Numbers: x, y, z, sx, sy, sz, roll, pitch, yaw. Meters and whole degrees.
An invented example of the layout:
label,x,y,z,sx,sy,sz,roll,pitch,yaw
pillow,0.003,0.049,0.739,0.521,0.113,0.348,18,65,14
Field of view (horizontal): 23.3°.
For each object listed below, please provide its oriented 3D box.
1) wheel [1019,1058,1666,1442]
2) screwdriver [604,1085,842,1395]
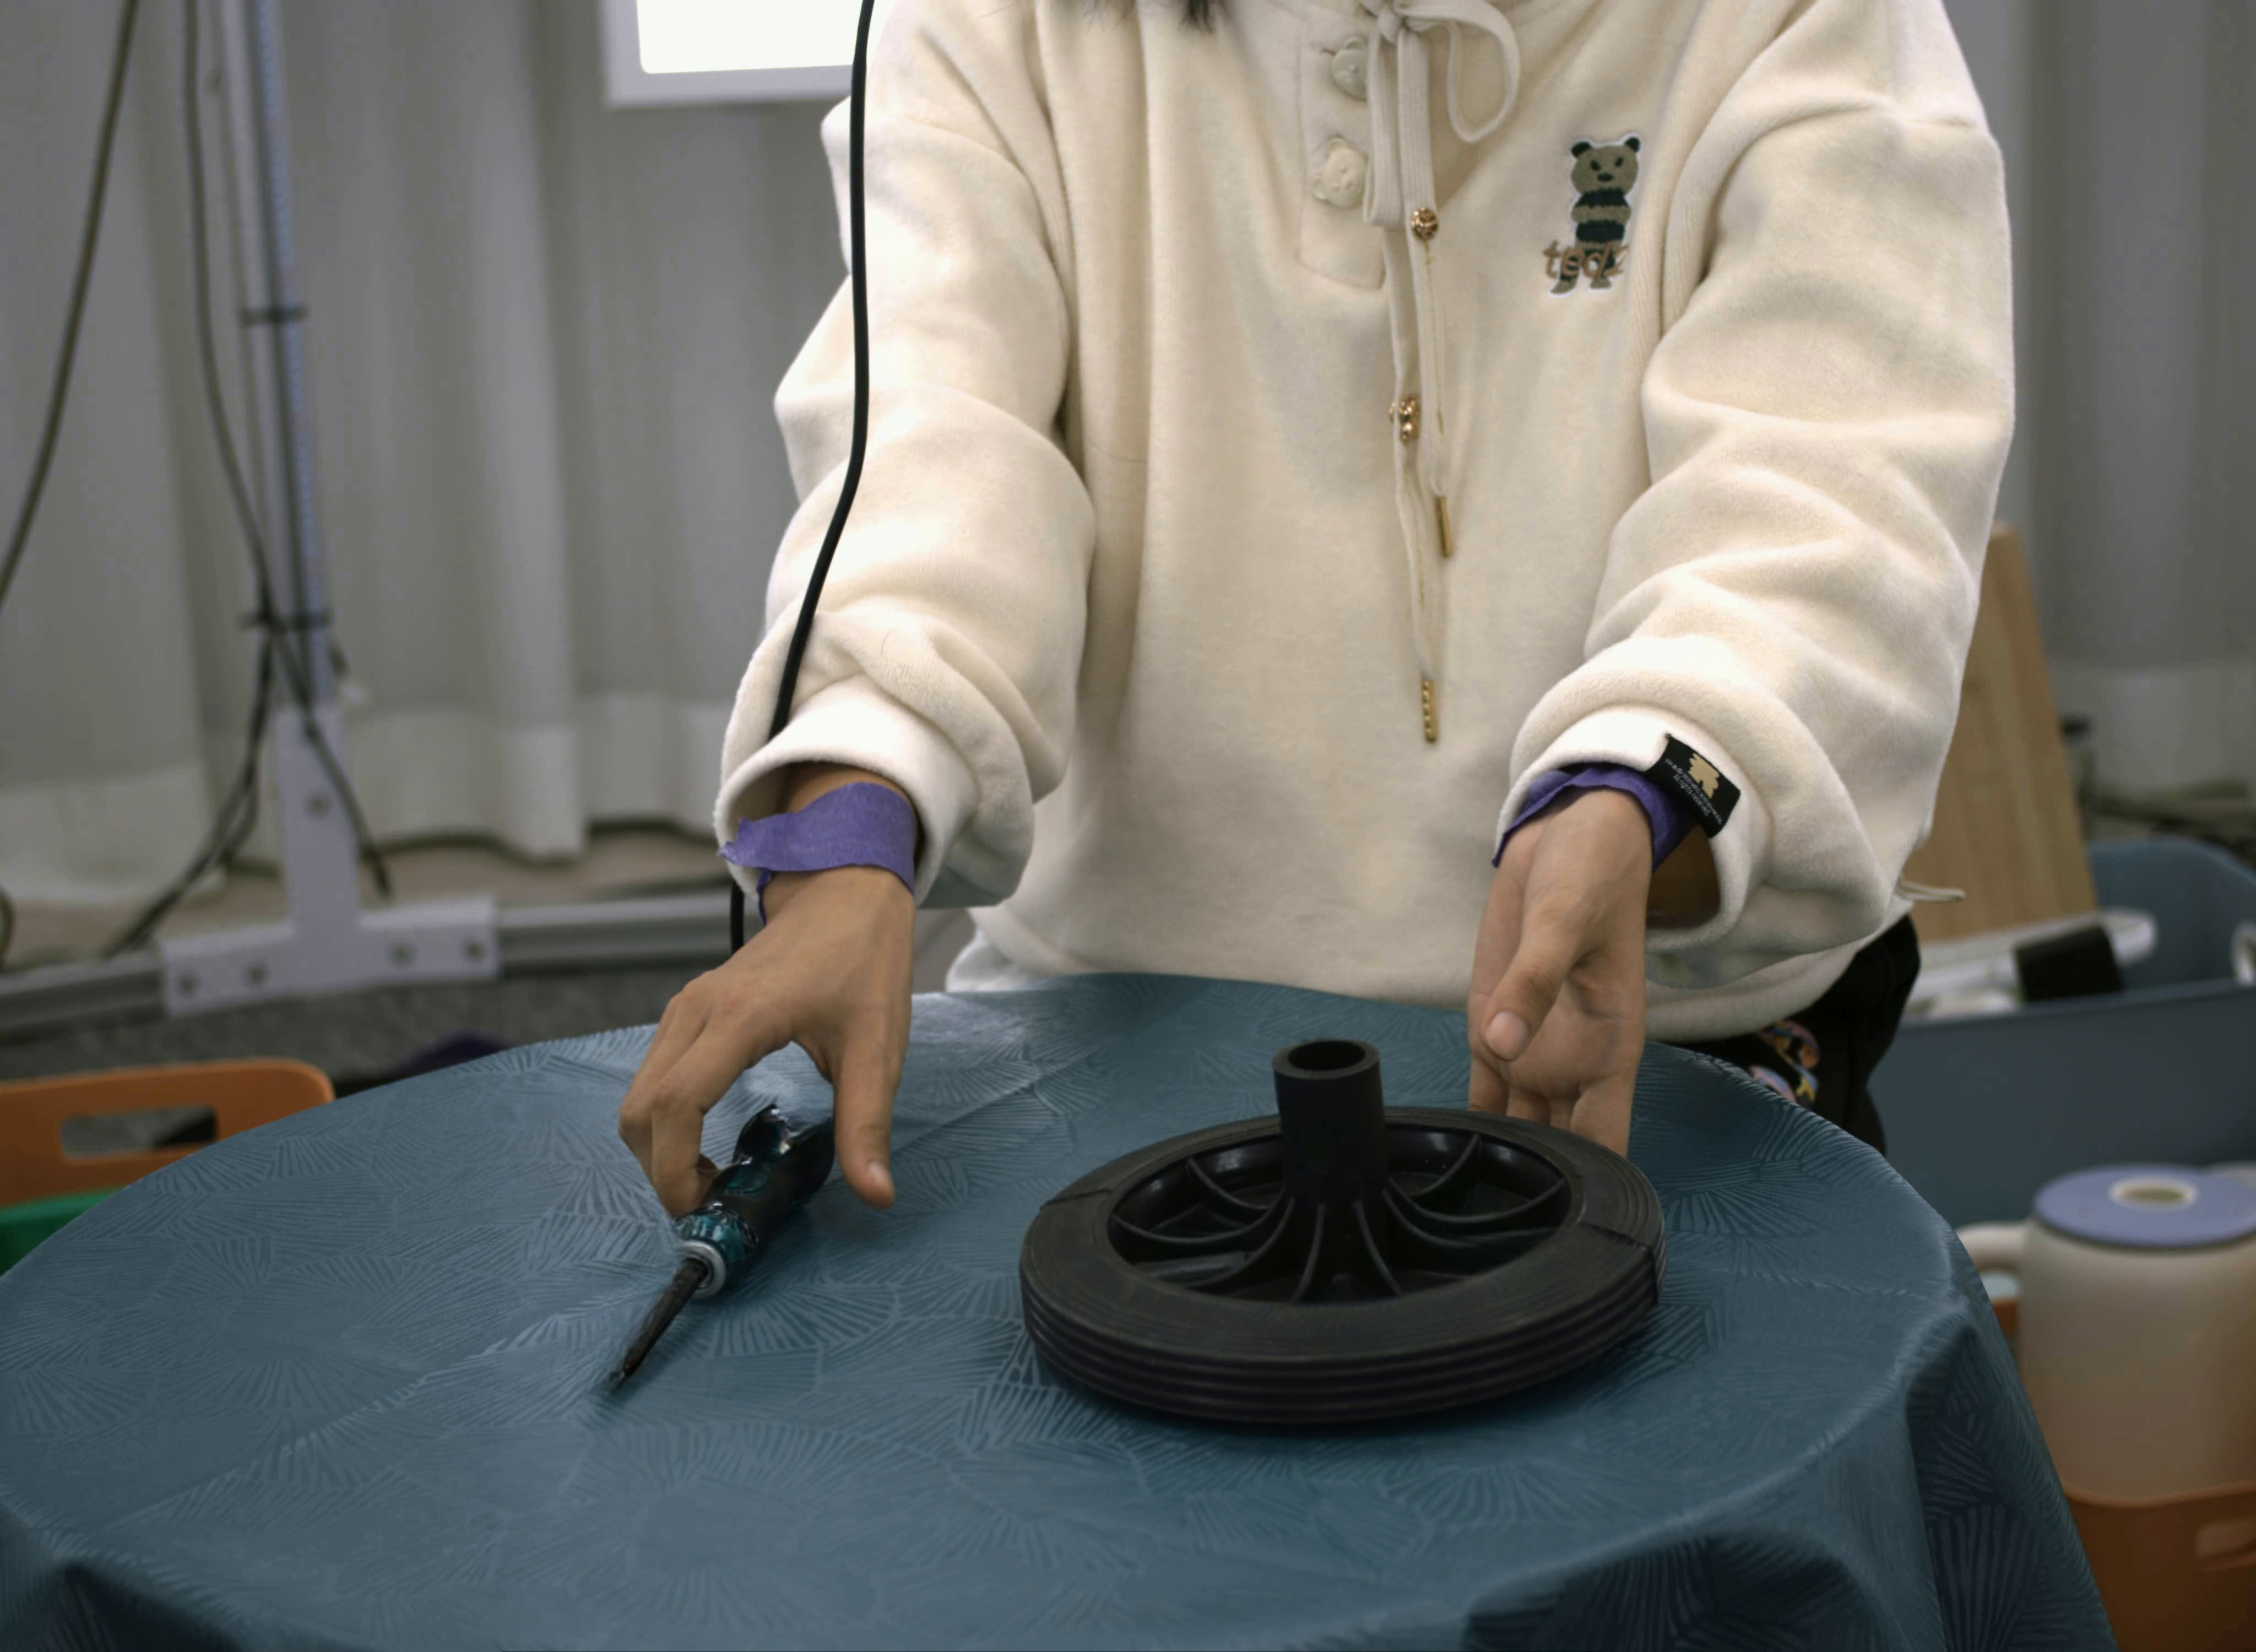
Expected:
label,x,y,z,sx,sy,sz,roll,pitch,yaw
wheel,0.059,0.109,1.575,0.189,0.078,0.189,-18,22,-30
screwdriver,-0.125,0.127,1.646,0.033,0.033,0.191,1,22,15
